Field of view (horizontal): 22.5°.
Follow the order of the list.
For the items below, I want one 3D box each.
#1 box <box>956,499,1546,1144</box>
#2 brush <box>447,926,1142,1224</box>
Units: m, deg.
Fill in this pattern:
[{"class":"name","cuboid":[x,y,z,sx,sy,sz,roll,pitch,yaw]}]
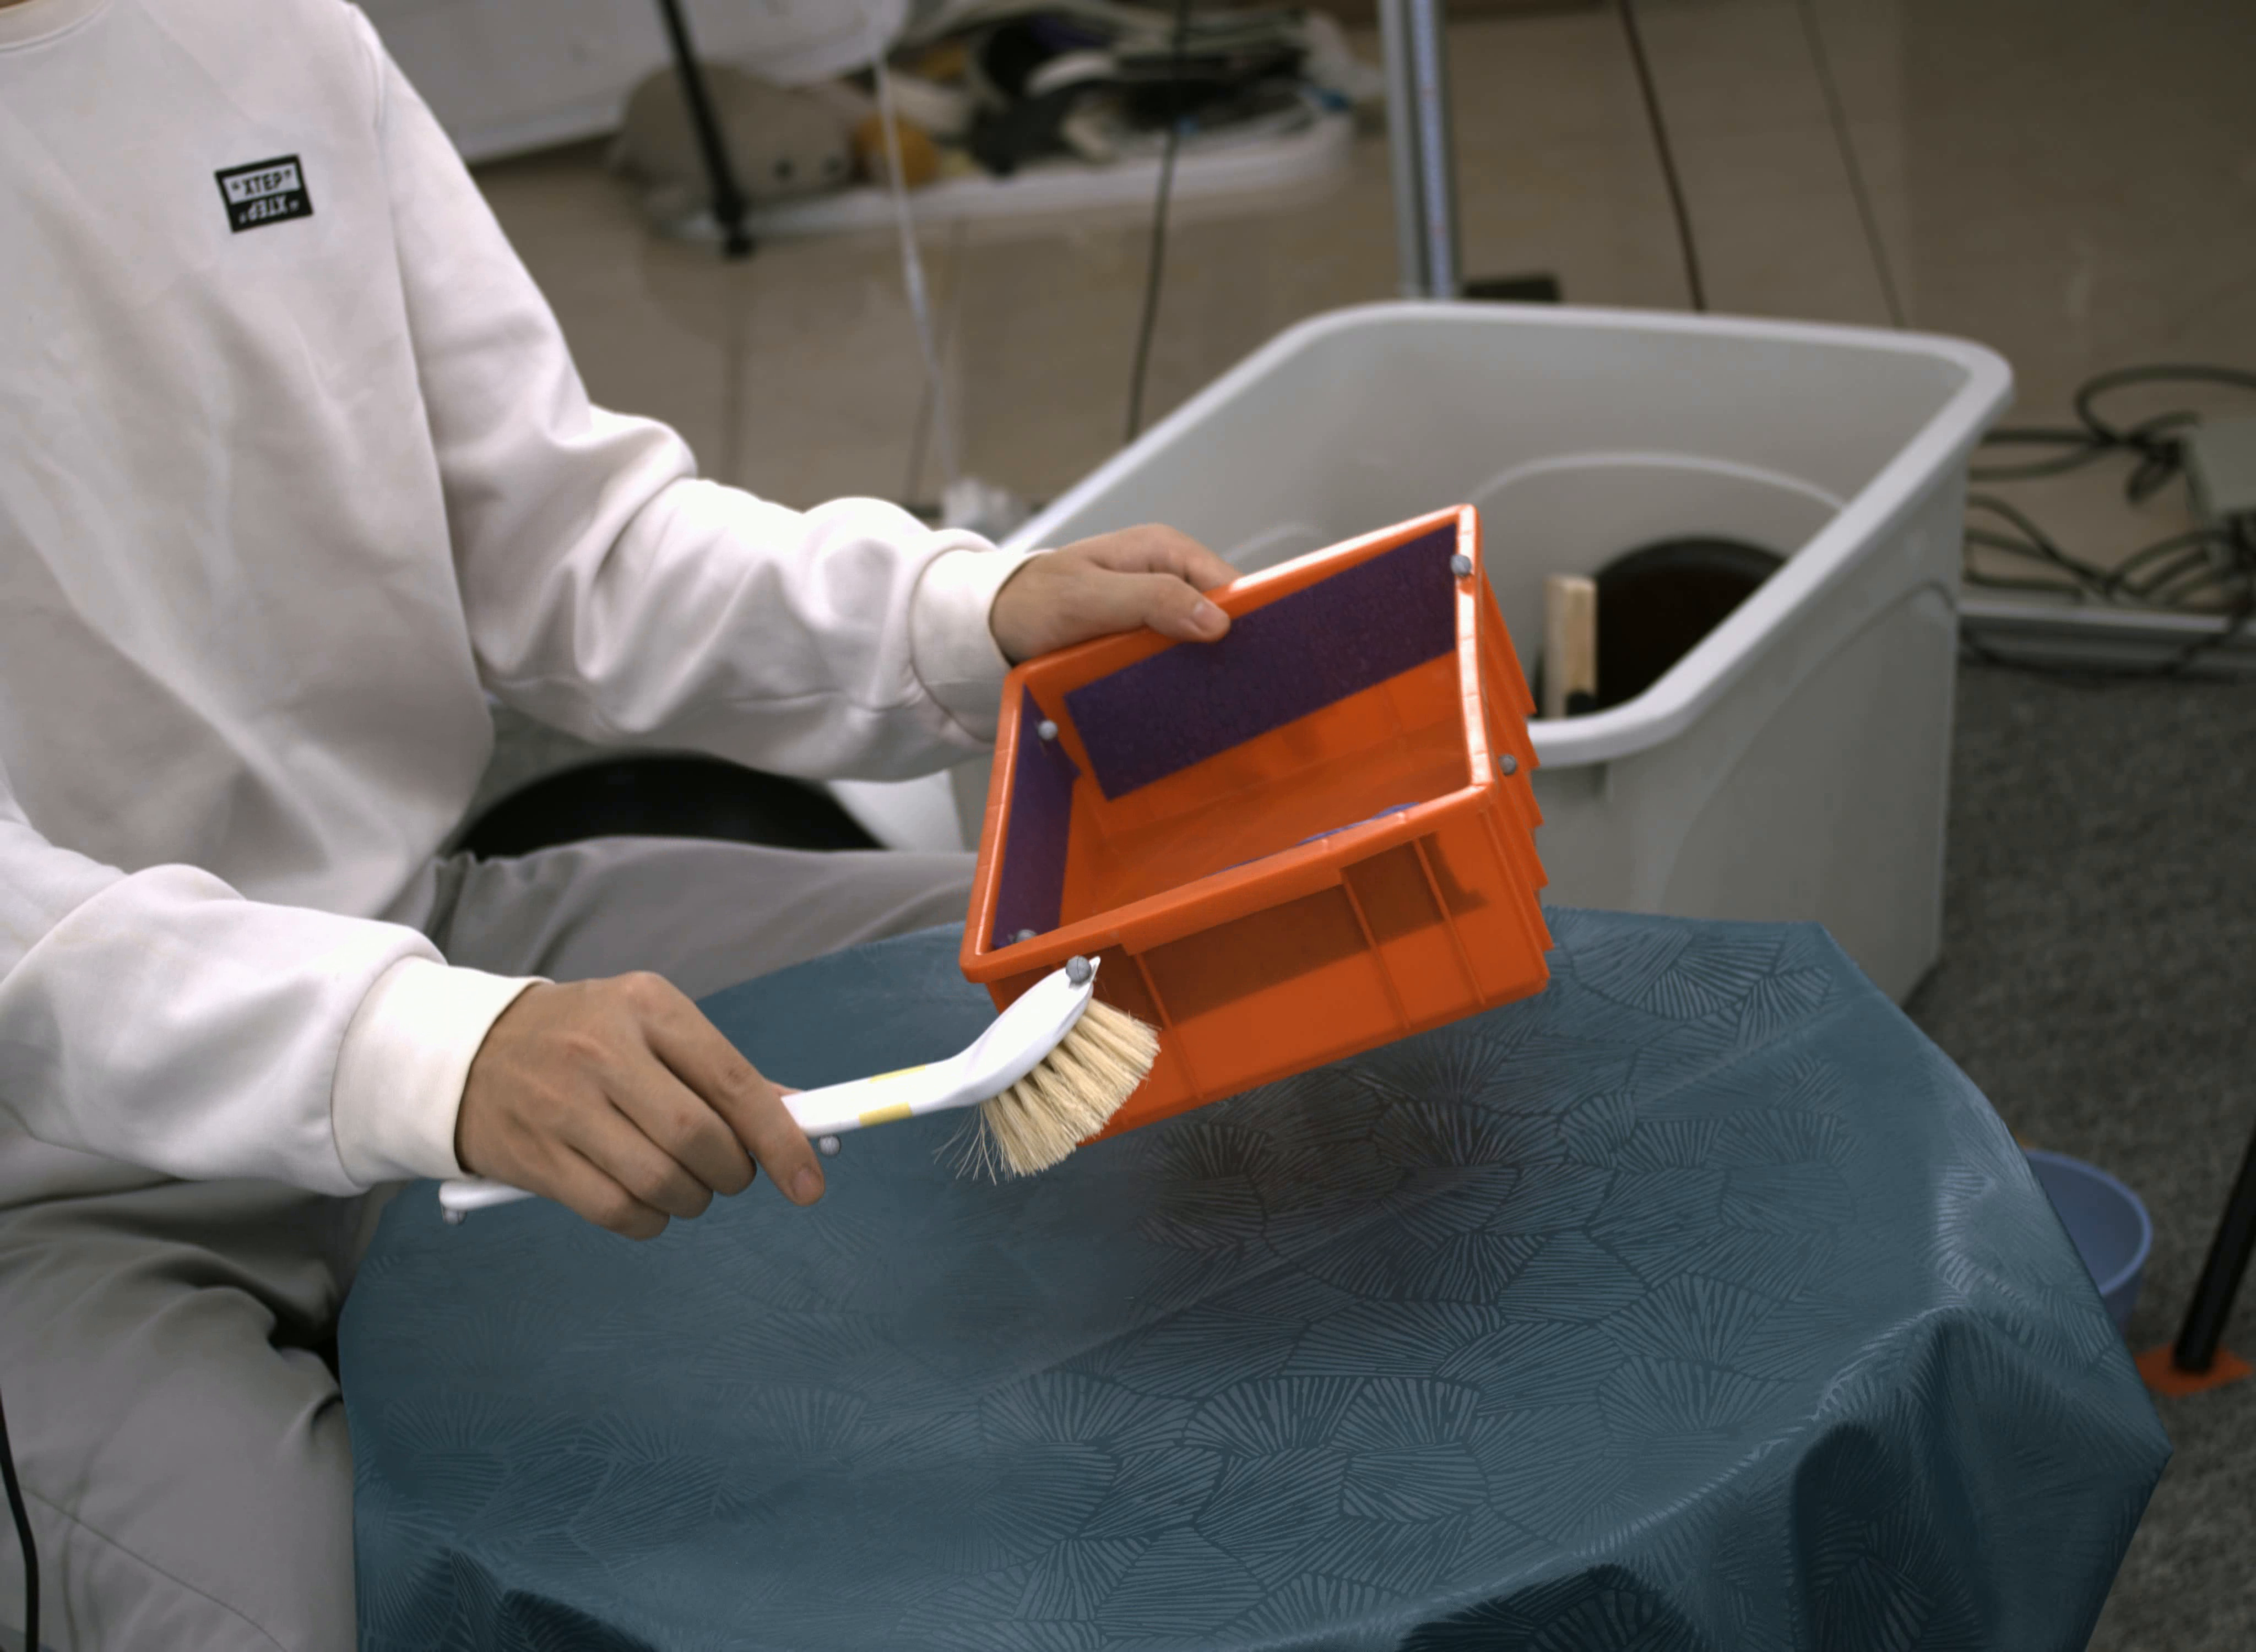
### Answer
[{"class":"box","cuboid":[0.054,-0.002,2.158,0.207,0.097,0.299,-20,21,12]},{"class":"brush","cuboid":[-0.114,0.107,1.974,0.267,0.056,0.068,-23,12,19]}]
